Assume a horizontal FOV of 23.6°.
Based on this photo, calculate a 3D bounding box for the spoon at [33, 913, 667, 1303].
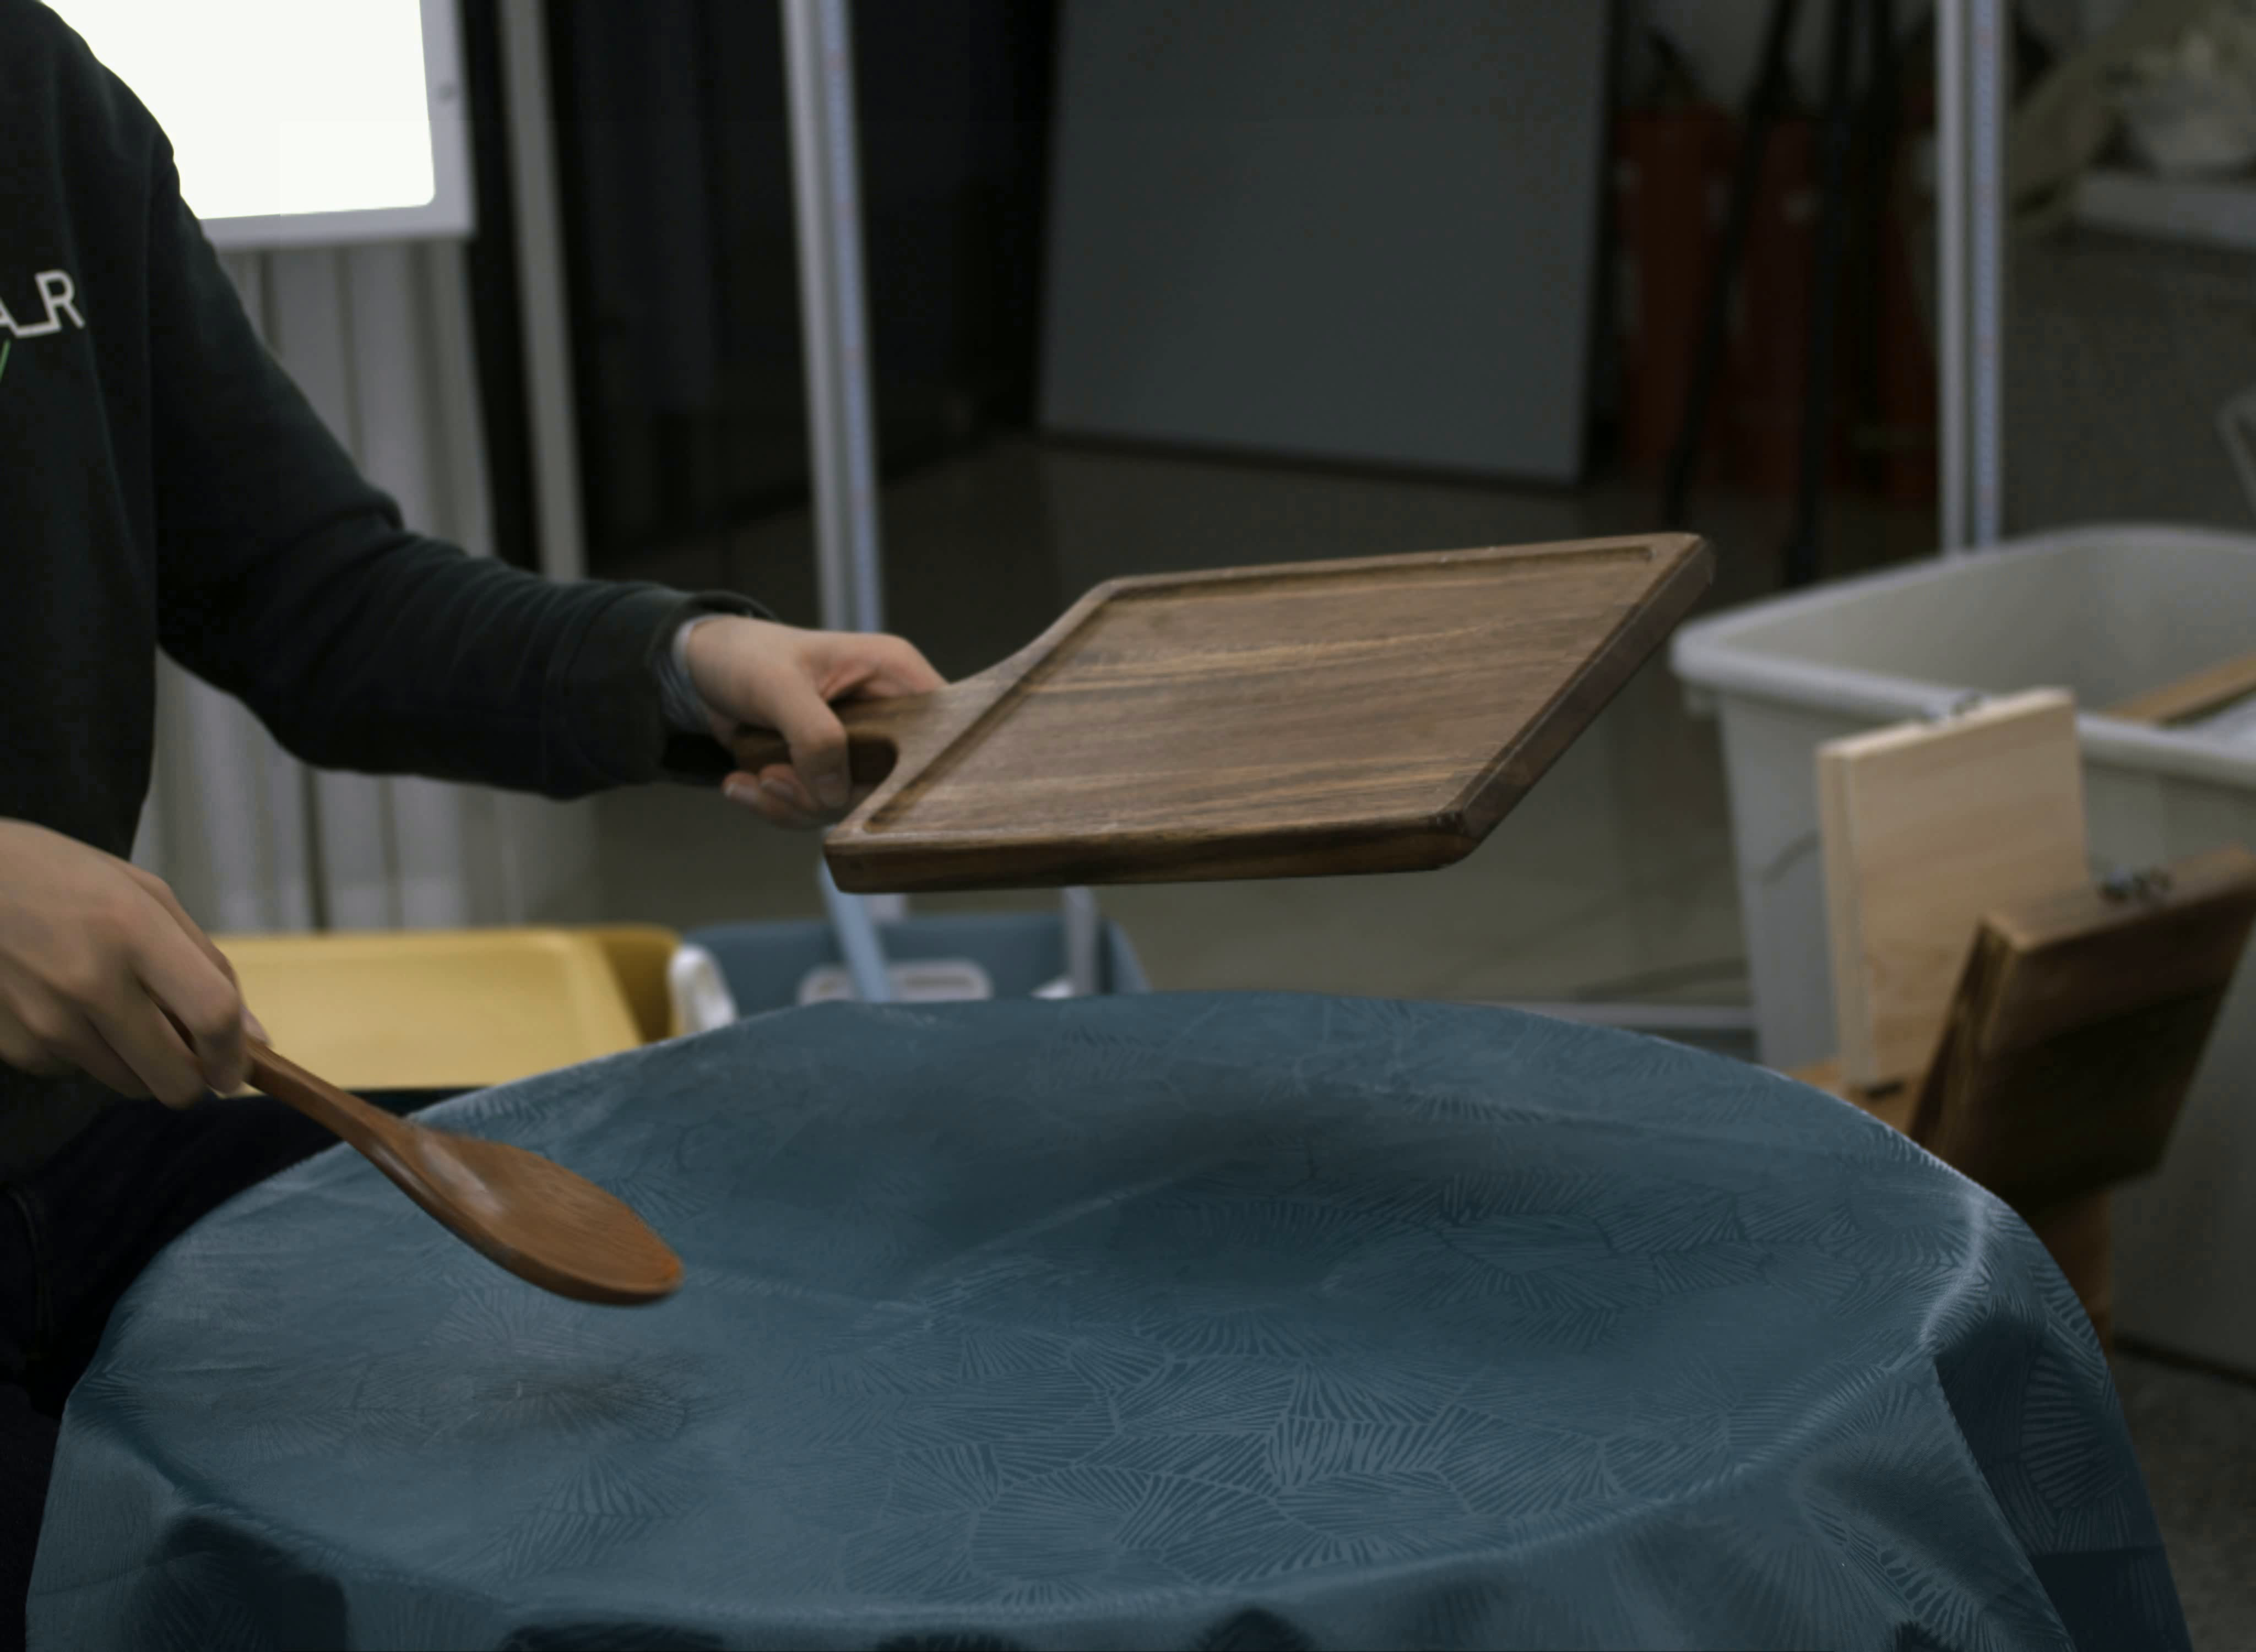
[{"bbox_3d":[-0.232,0.086,1.612,0.215,0.017,0.075,31,16,5],"label":"spoon"}]

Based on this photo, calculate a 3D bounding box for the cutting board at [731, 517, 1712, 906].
[{"bbox_3d":[0.007,-0.035,1.801,0.354,0.023,0.199,-4,29,37],"label":"cutting board"}]
